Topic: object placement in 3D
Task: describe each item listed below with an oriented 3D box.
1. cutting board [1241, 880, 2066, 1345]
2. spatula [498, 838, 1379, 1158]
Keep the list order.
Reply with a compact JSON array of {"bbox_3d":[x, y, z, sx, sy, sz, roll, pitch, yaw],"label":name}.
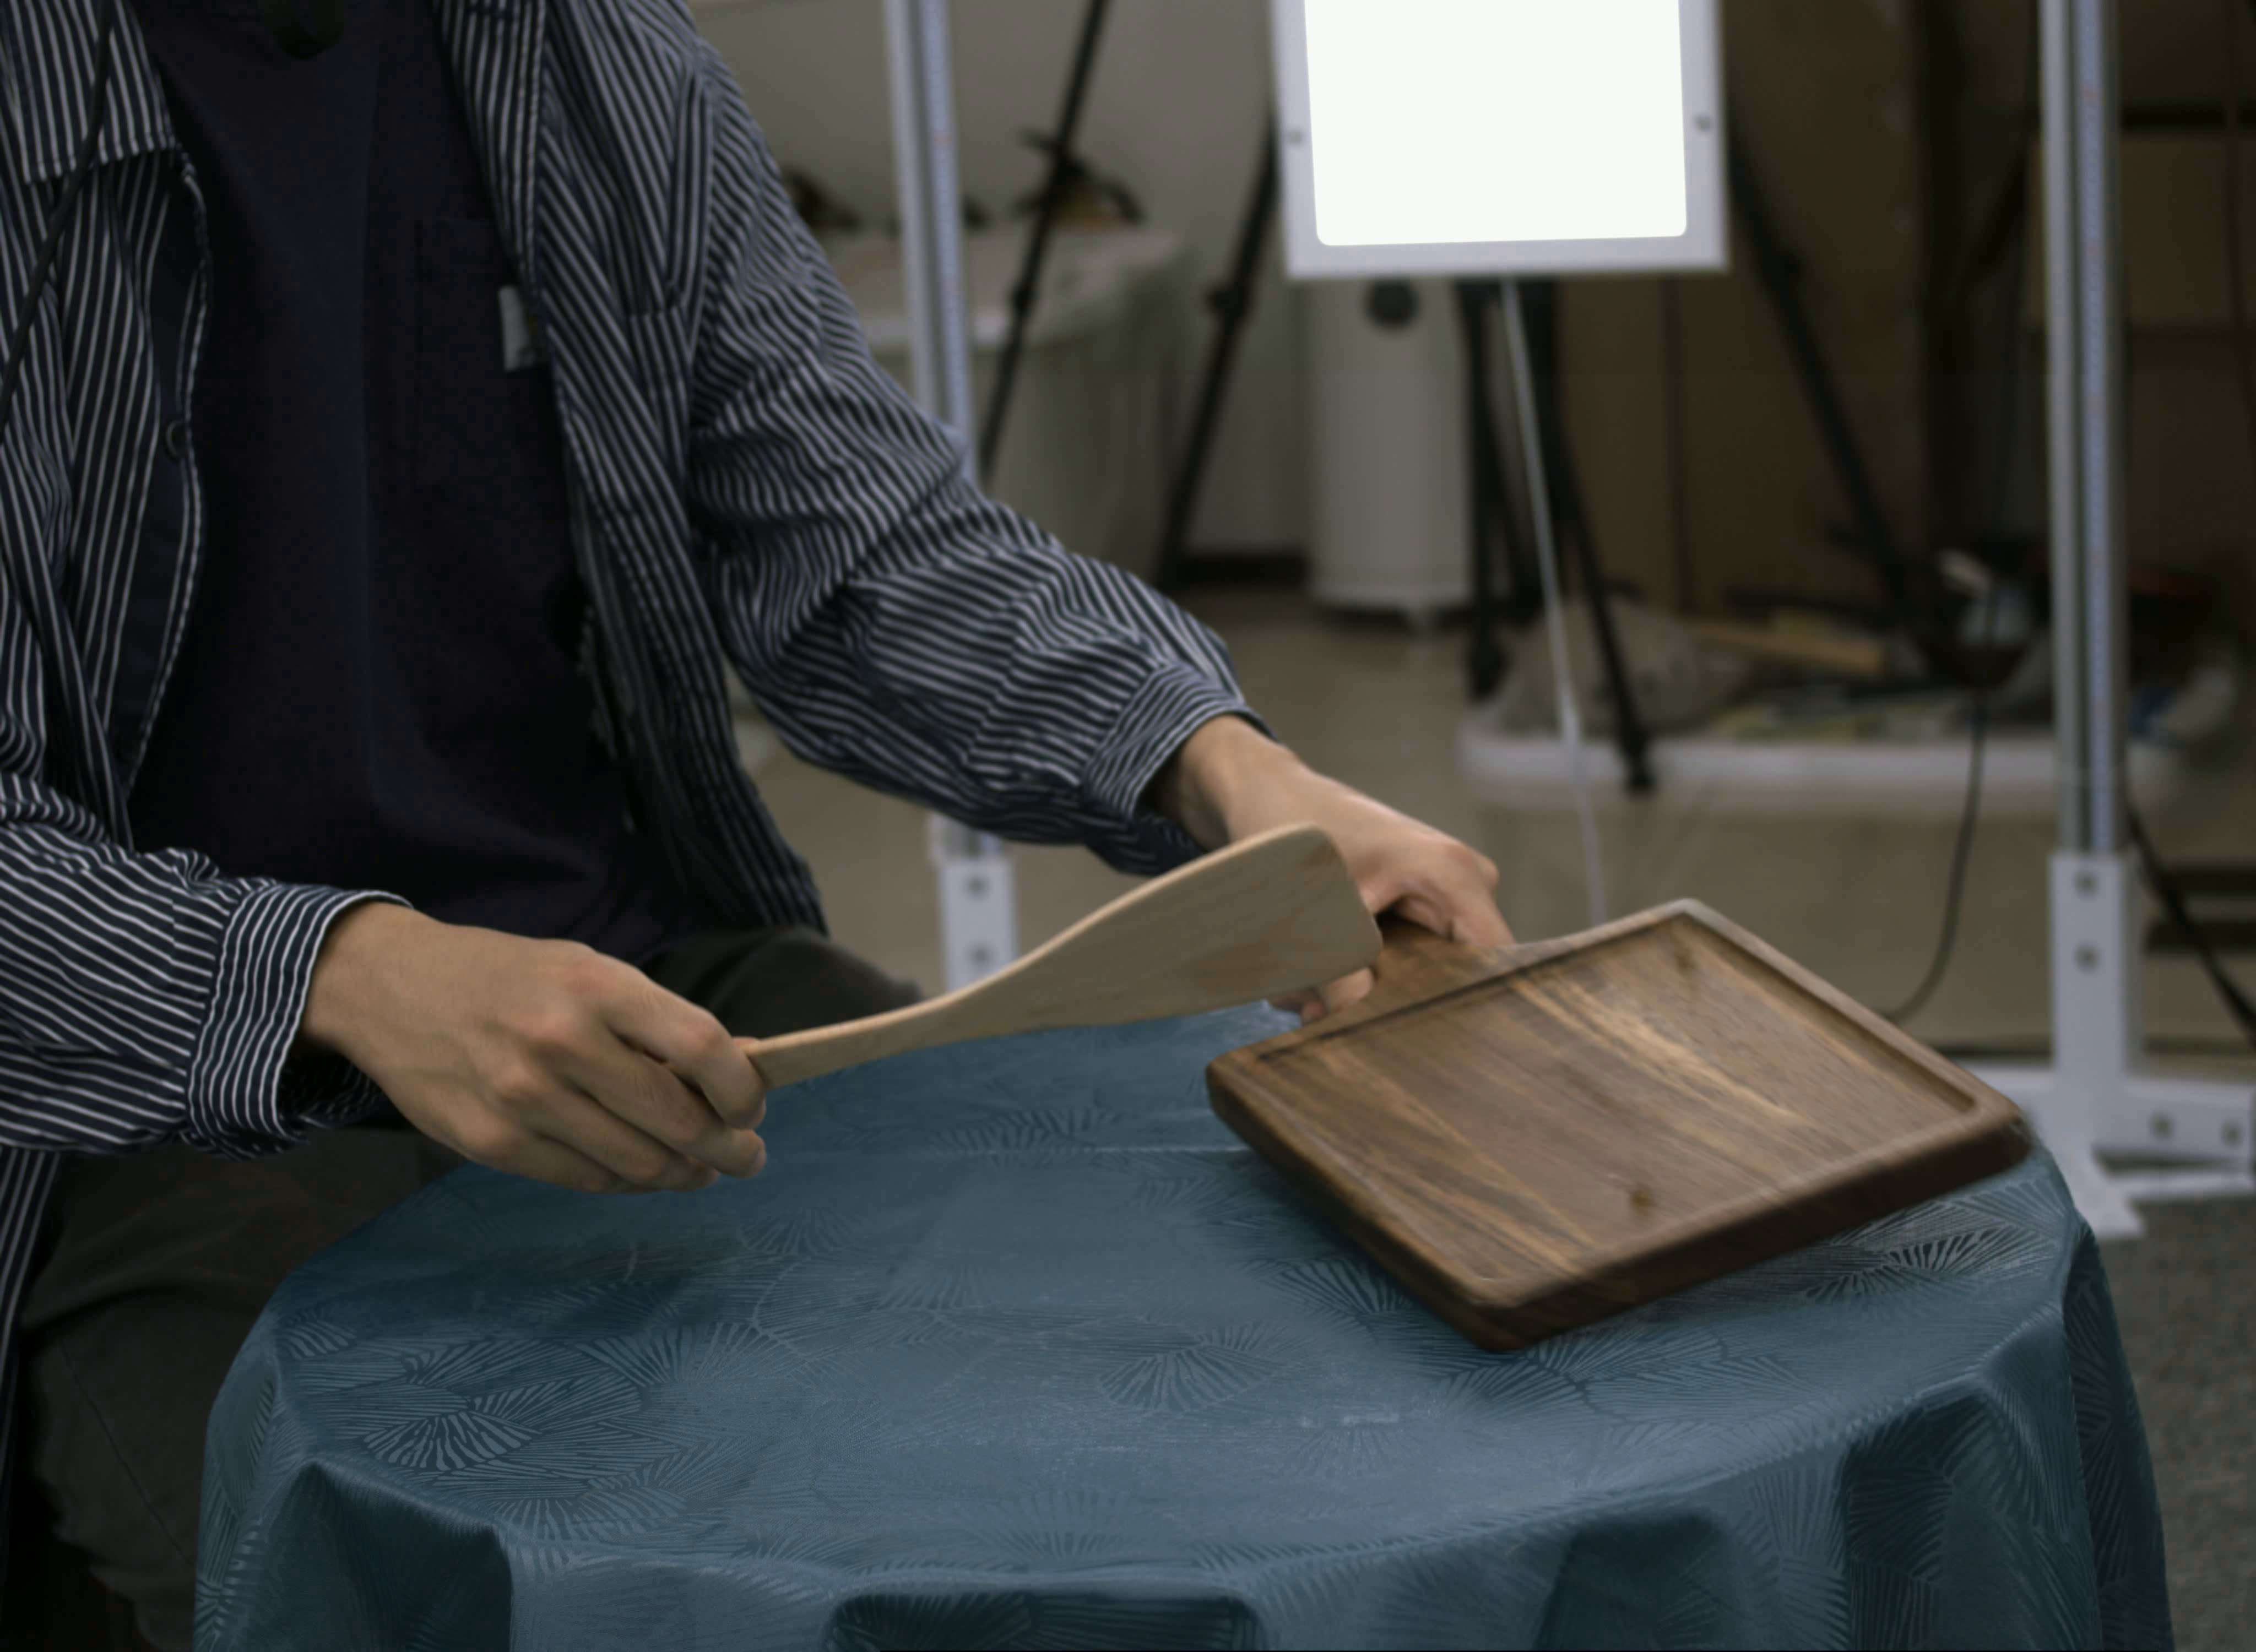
[{"bbox_3d":[0.155,0.078,1.873,0.198,0.023,0.356,-18,21,-14],"label":"cutting board"},{"bbox_3d":[-0.067,0.065,1.793,0.333,0.079,0.016,-15,52,28],"label":"spatula"}]
